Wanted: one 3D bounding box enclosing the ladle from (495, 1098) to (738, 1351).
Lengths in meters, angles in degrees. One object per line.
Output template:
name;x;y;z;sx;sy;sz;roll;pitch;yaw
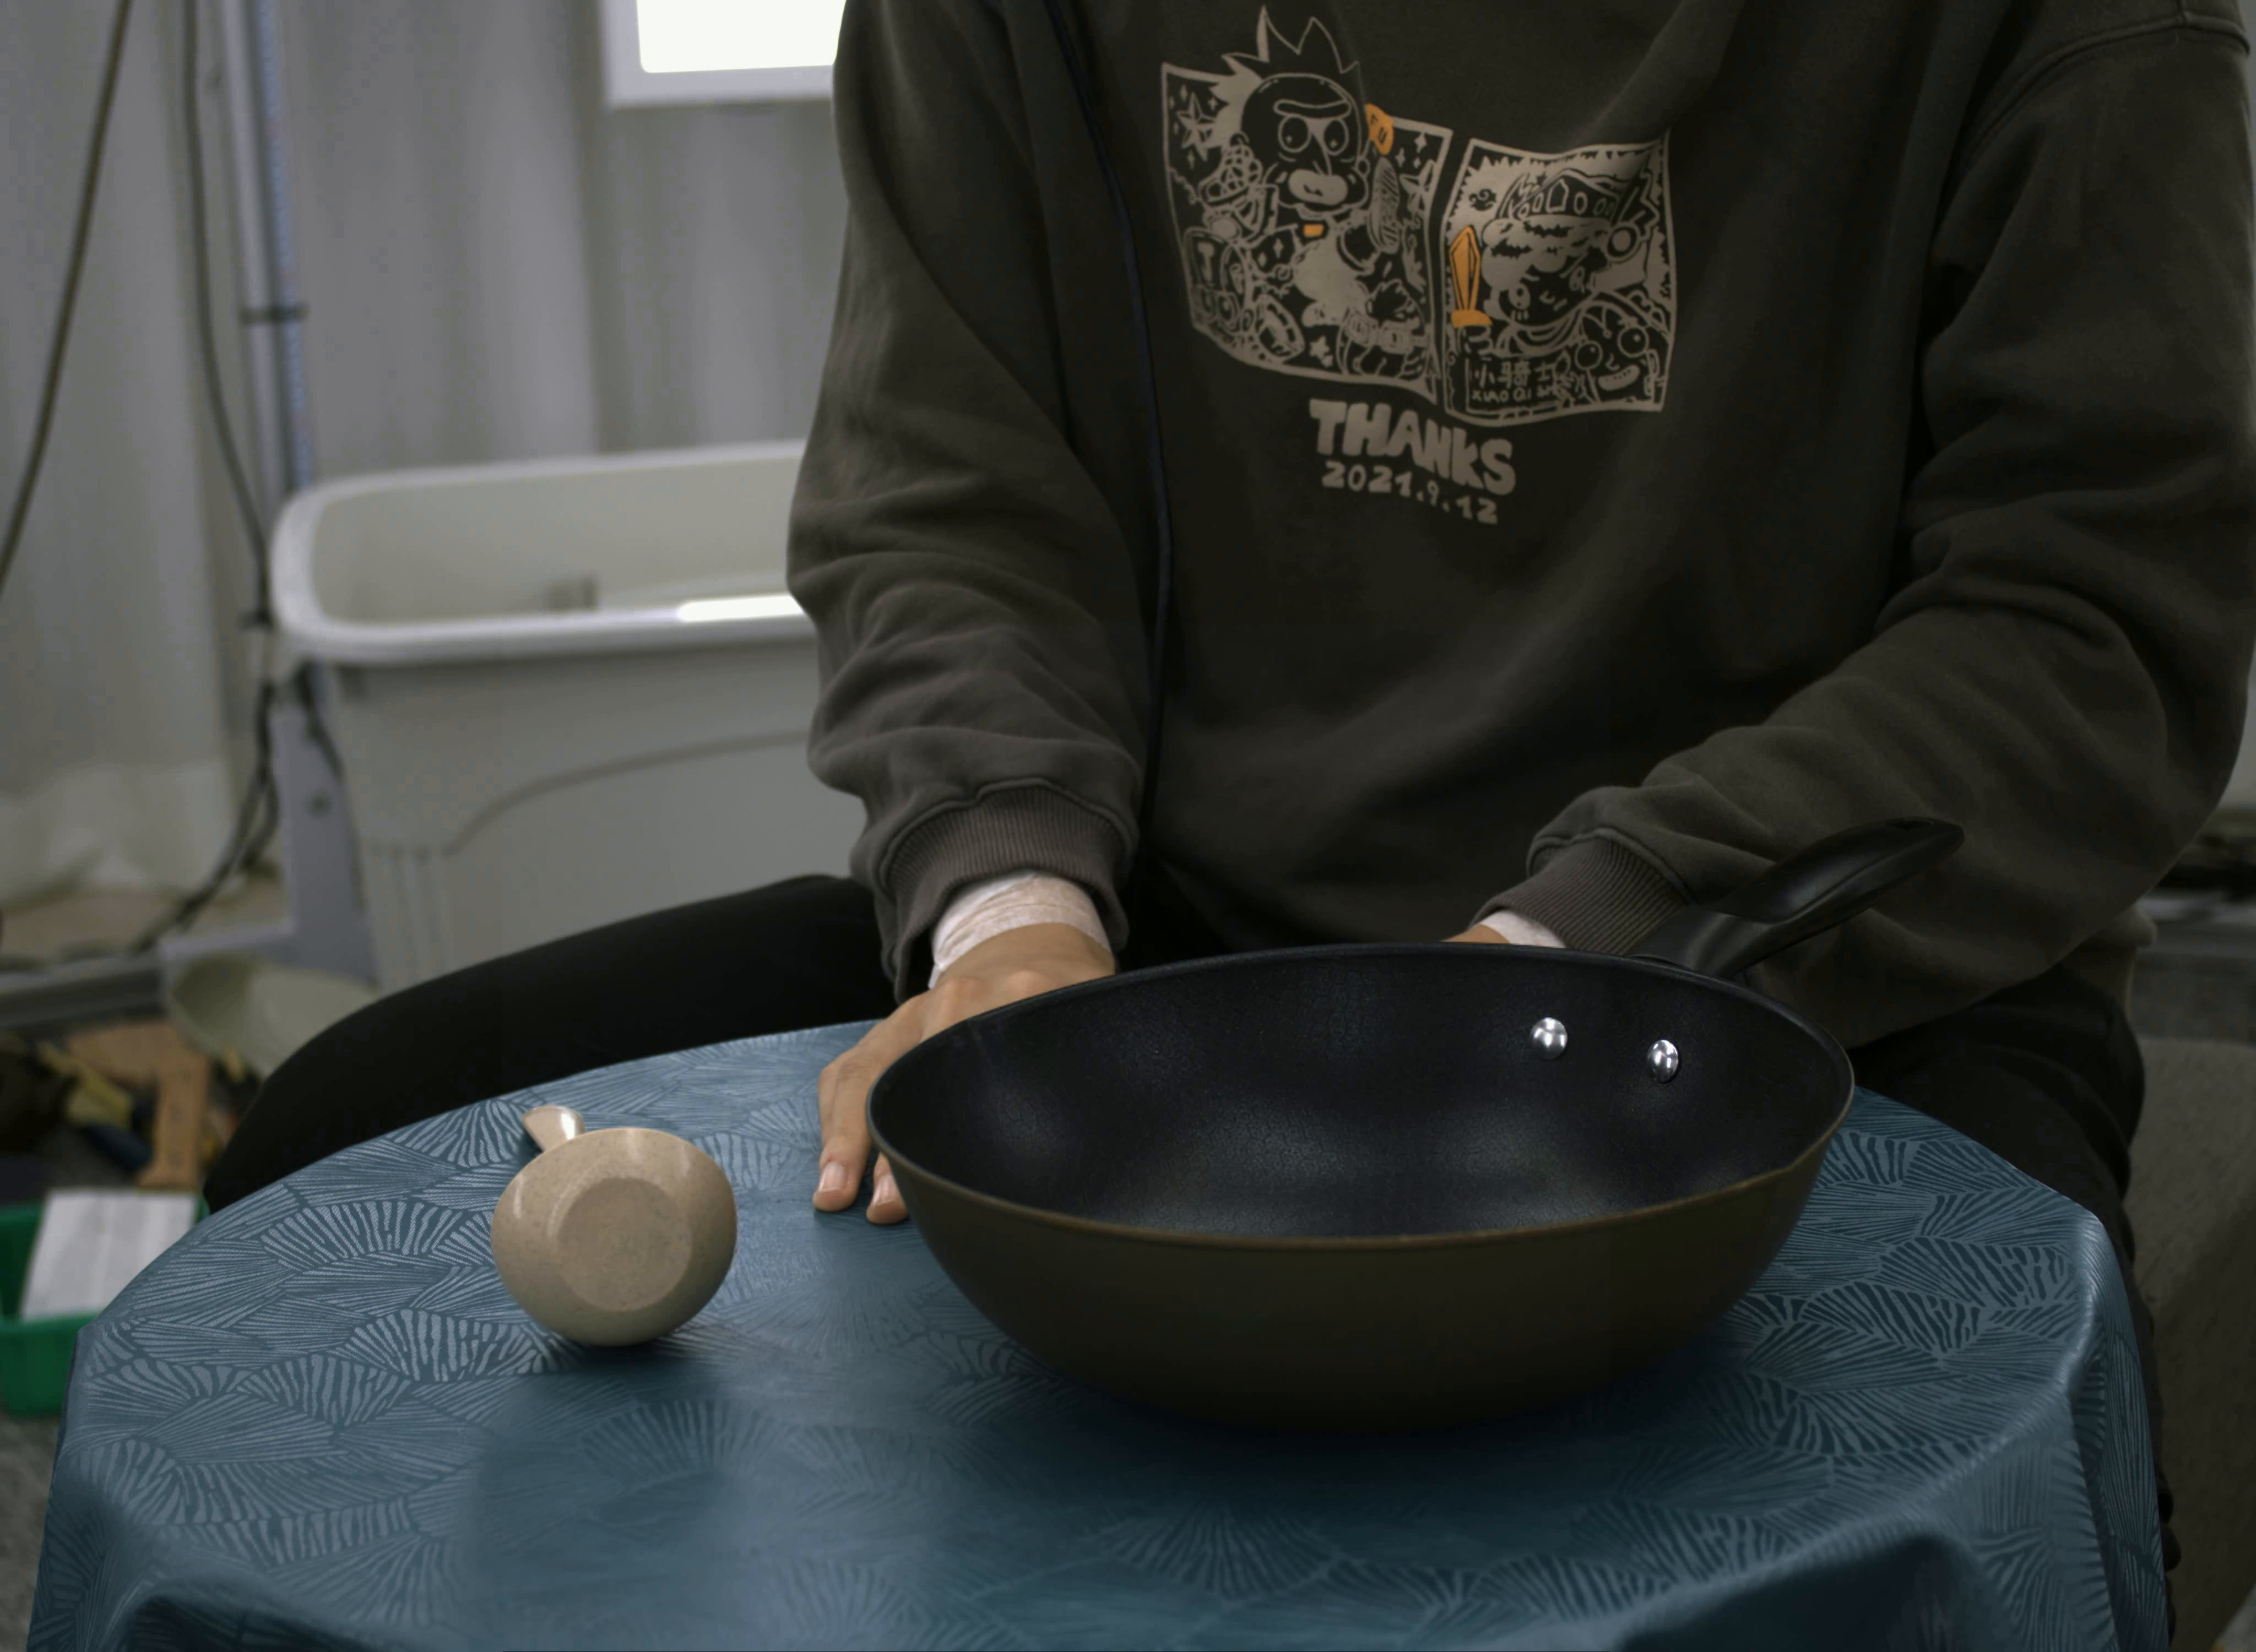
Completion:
ladle;-0.173;0.093;1.695;0.072;0.072;0.256;-8;17;-12

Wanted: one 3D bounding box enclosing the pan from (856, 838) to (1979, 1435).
pan;0.121;0.089;1.635;0.289;0.086;0.463;9;18;38
